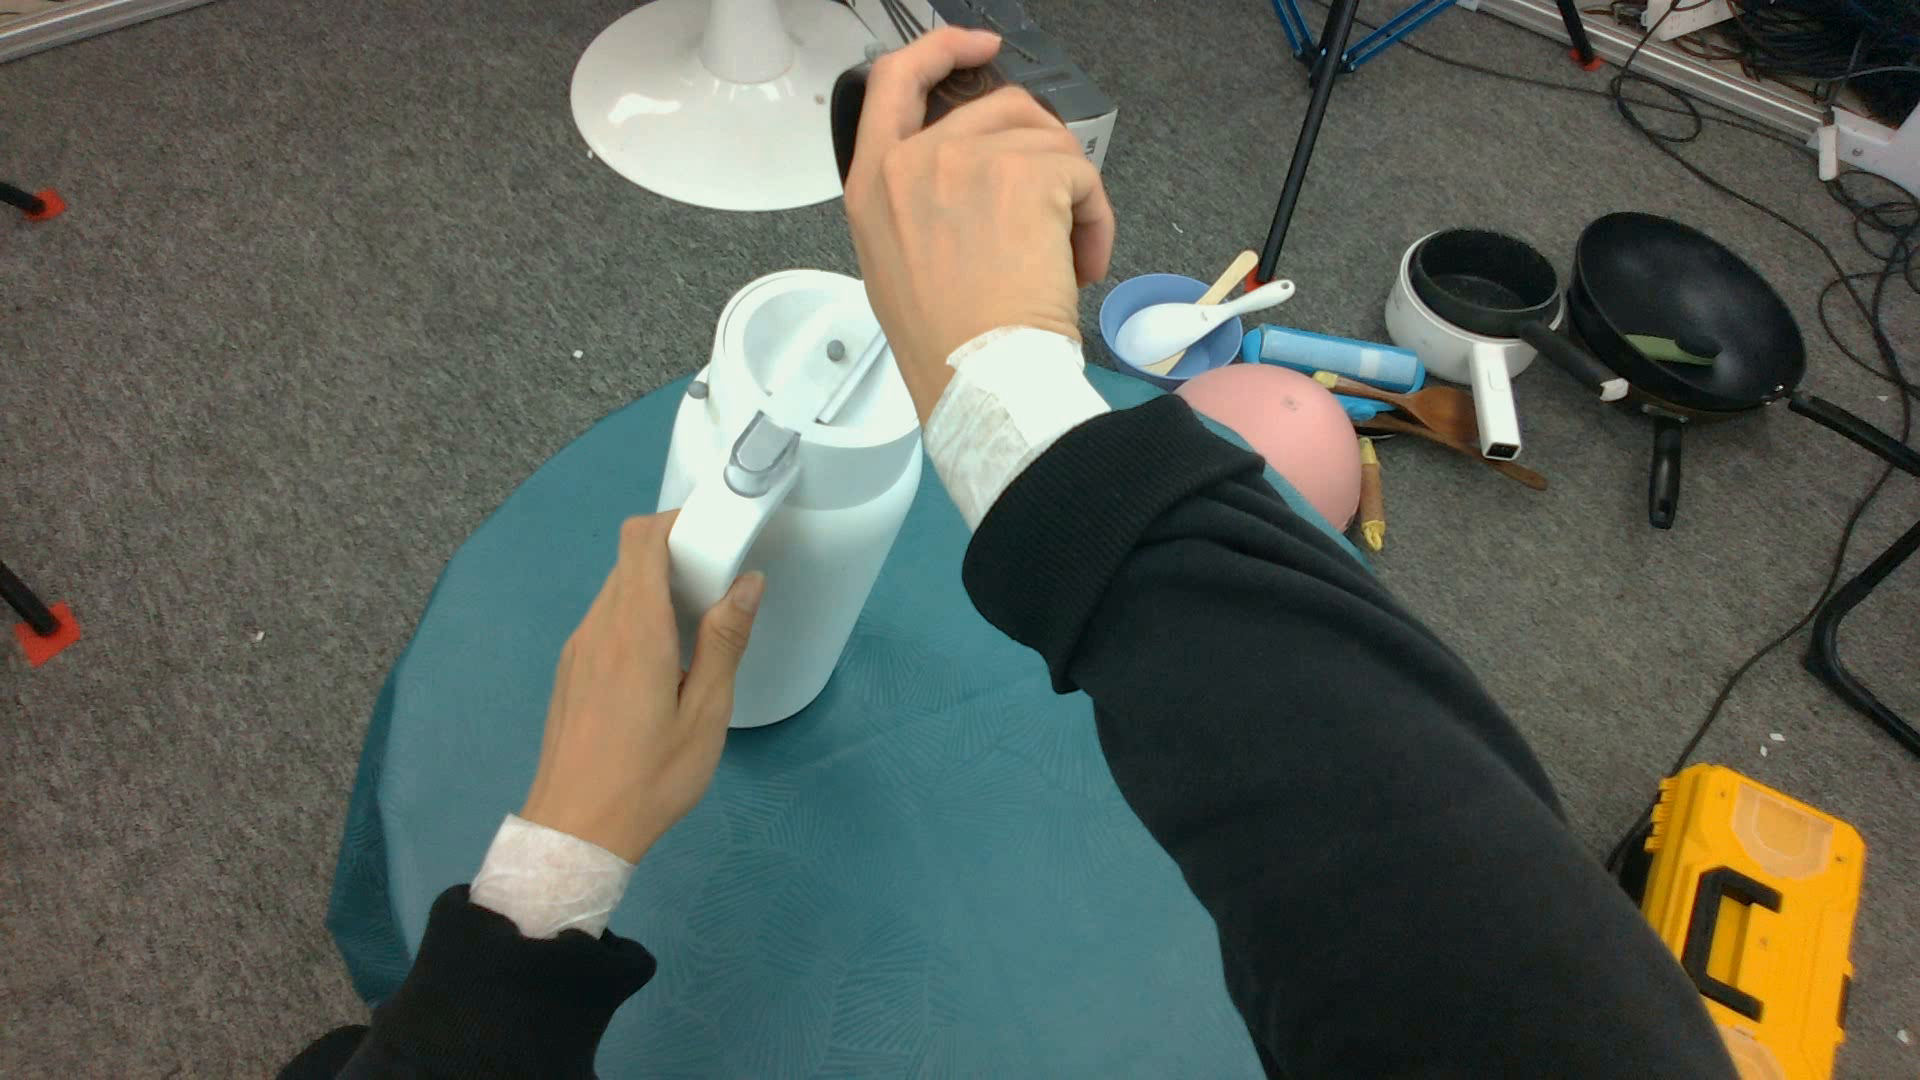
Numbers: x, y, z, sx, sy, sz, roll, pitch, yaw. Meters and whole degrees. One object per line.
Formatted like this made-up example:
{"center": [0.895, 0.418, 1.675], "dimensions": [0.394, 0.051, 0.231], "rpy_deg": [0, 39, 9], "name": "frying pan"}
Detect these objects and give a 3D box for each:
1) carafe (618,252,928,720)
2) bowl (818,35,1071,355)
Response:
{"center": [-0.105, -0.003, 0.683], "dimensions": [0.124, 0.267, 0.174], "rpy_deg": [29, 53, -3], "name": "carafe"}
{"center": [0.000, -0.138, 0.536], "dimensions": [0.070, 0.117, 0.118], "rpy_deg": [-25, 61, -15], "name": "bowl"}
